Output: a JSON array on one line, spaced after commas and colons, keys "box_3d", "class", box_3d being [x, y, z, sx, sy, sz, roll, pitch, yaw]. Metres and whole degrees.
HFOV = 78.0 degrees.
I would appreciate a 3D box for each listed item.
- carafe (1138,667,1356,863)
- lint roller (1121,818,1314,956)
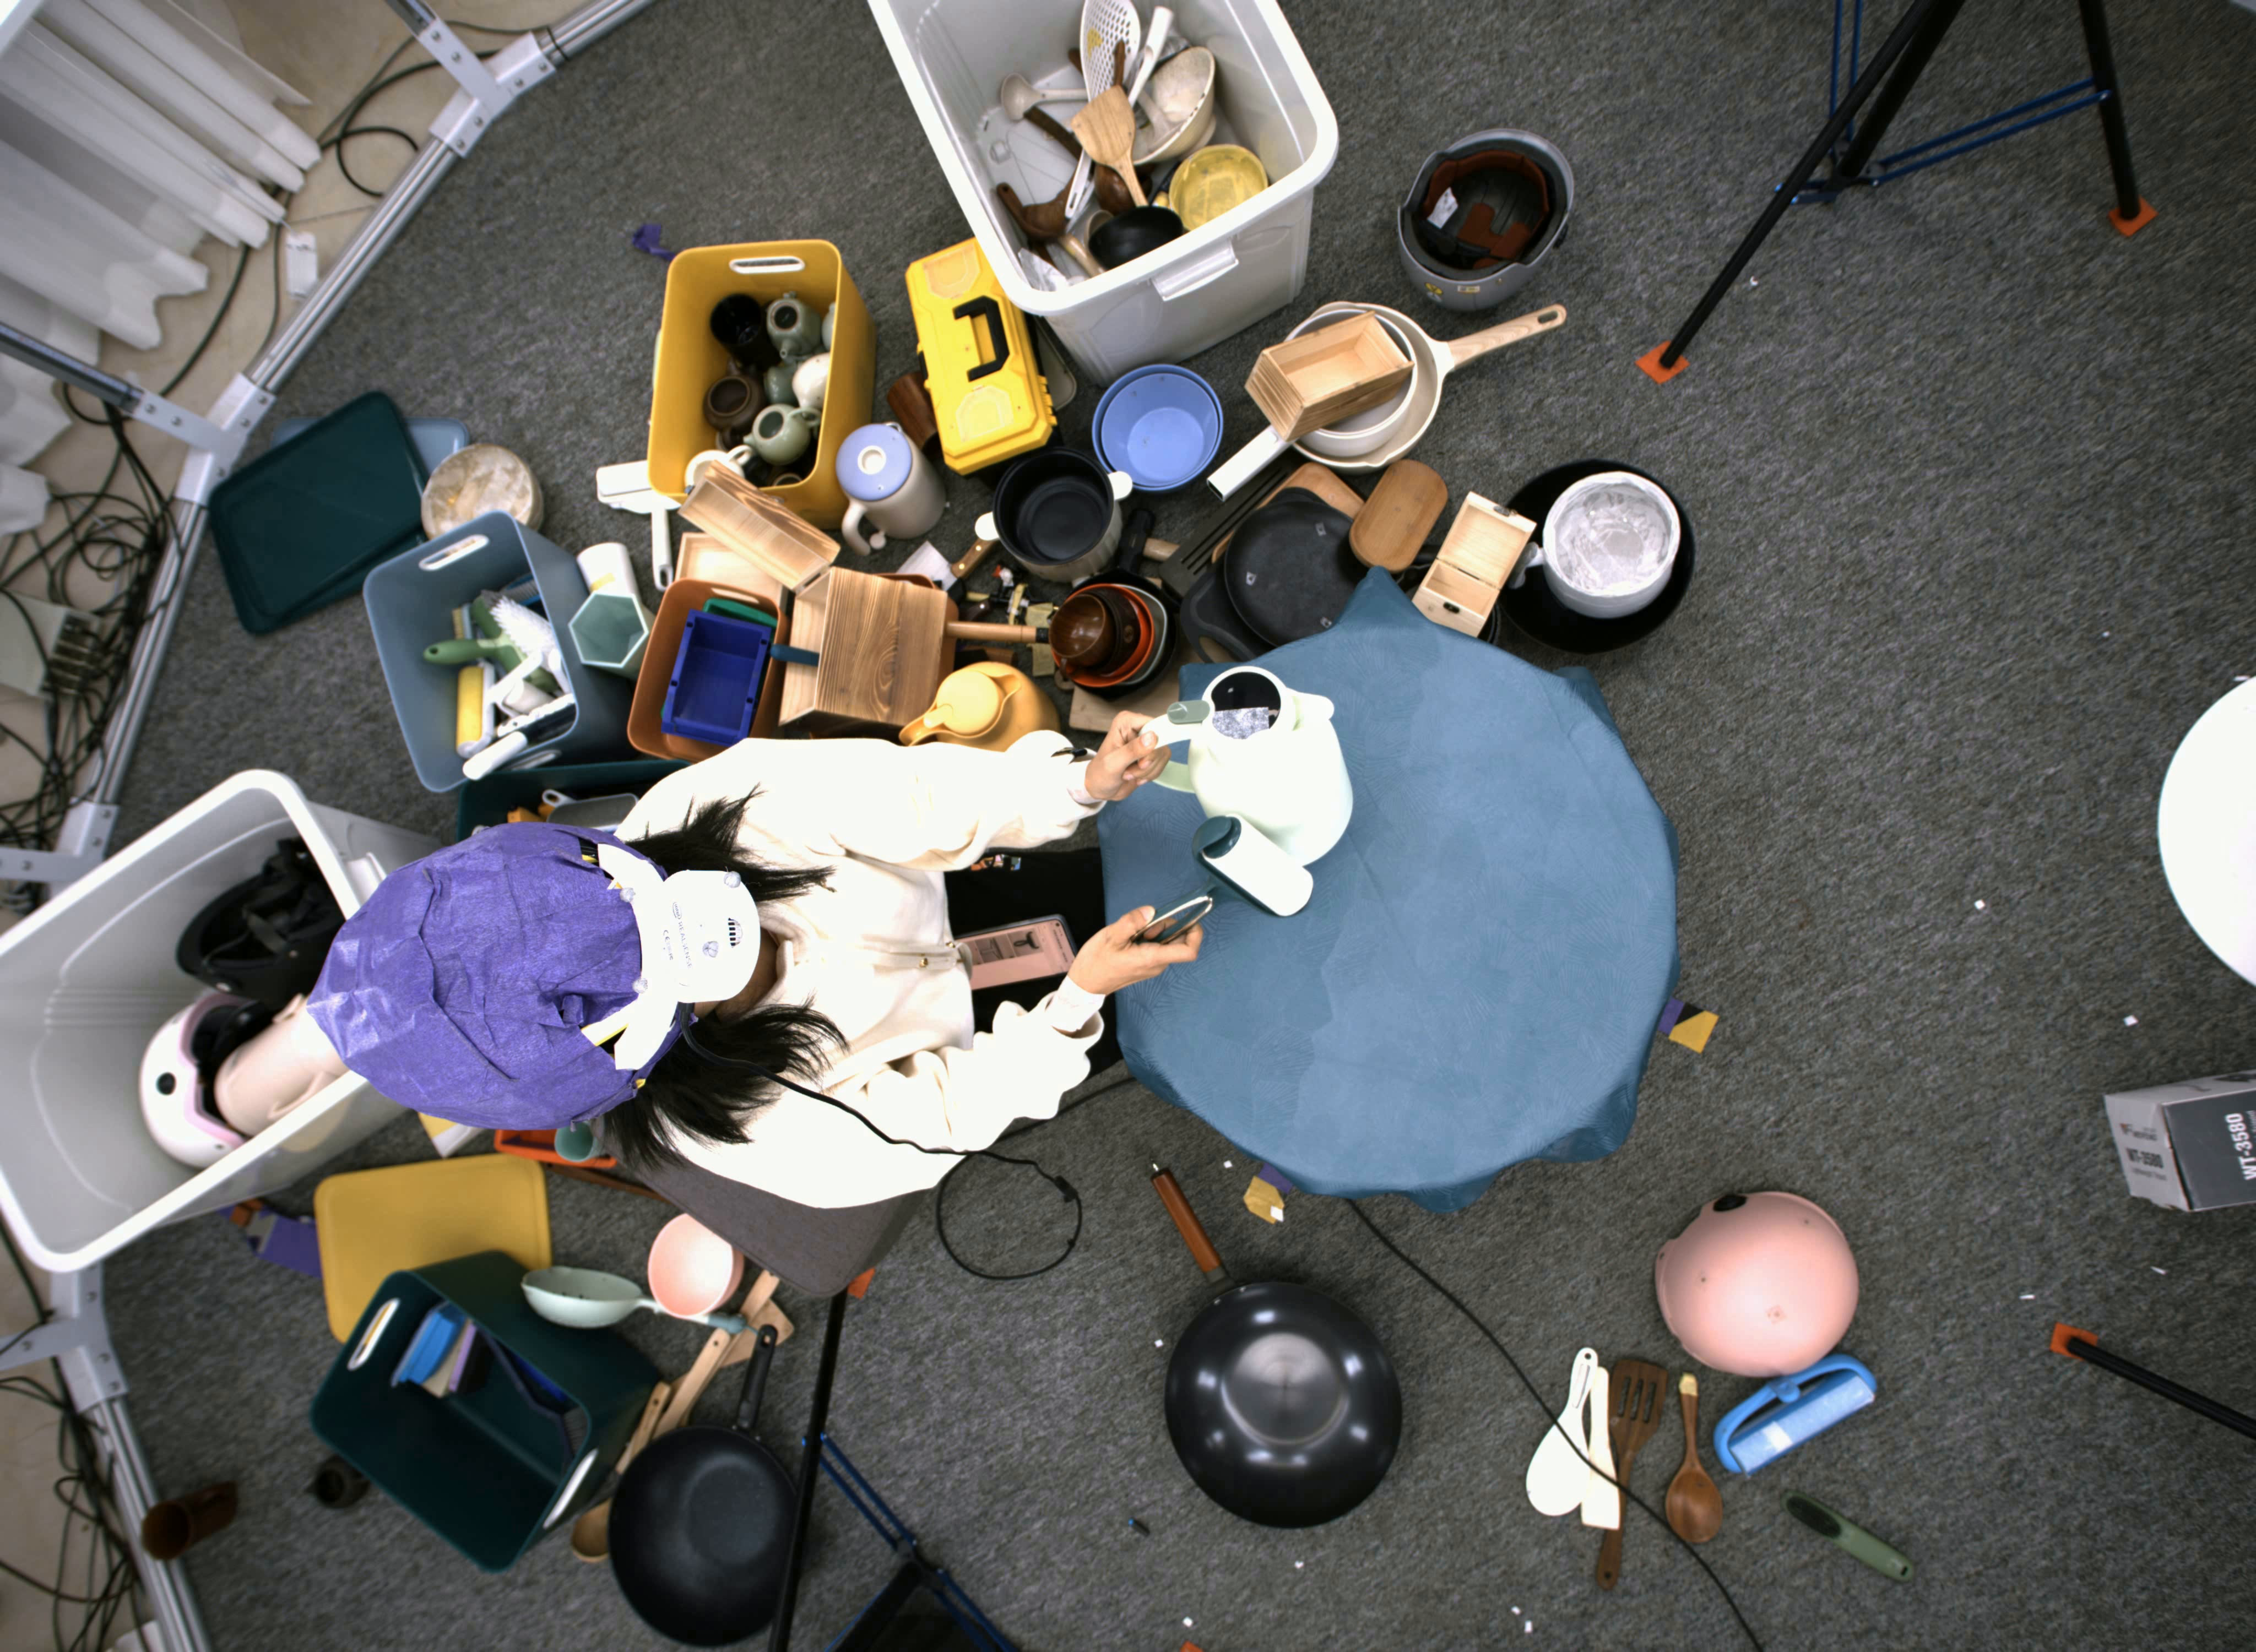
[{"box_3d": [0.113, -0.063, 1.281, 0.188, 0.259, 0.142, -6, 72, 16], "class": "carafe"}, {"box_3d": [0.065, 0.076, 1.237, 0.183, 0.135, 0.047, -39, 35, 22], "class": "lint roller"}]
